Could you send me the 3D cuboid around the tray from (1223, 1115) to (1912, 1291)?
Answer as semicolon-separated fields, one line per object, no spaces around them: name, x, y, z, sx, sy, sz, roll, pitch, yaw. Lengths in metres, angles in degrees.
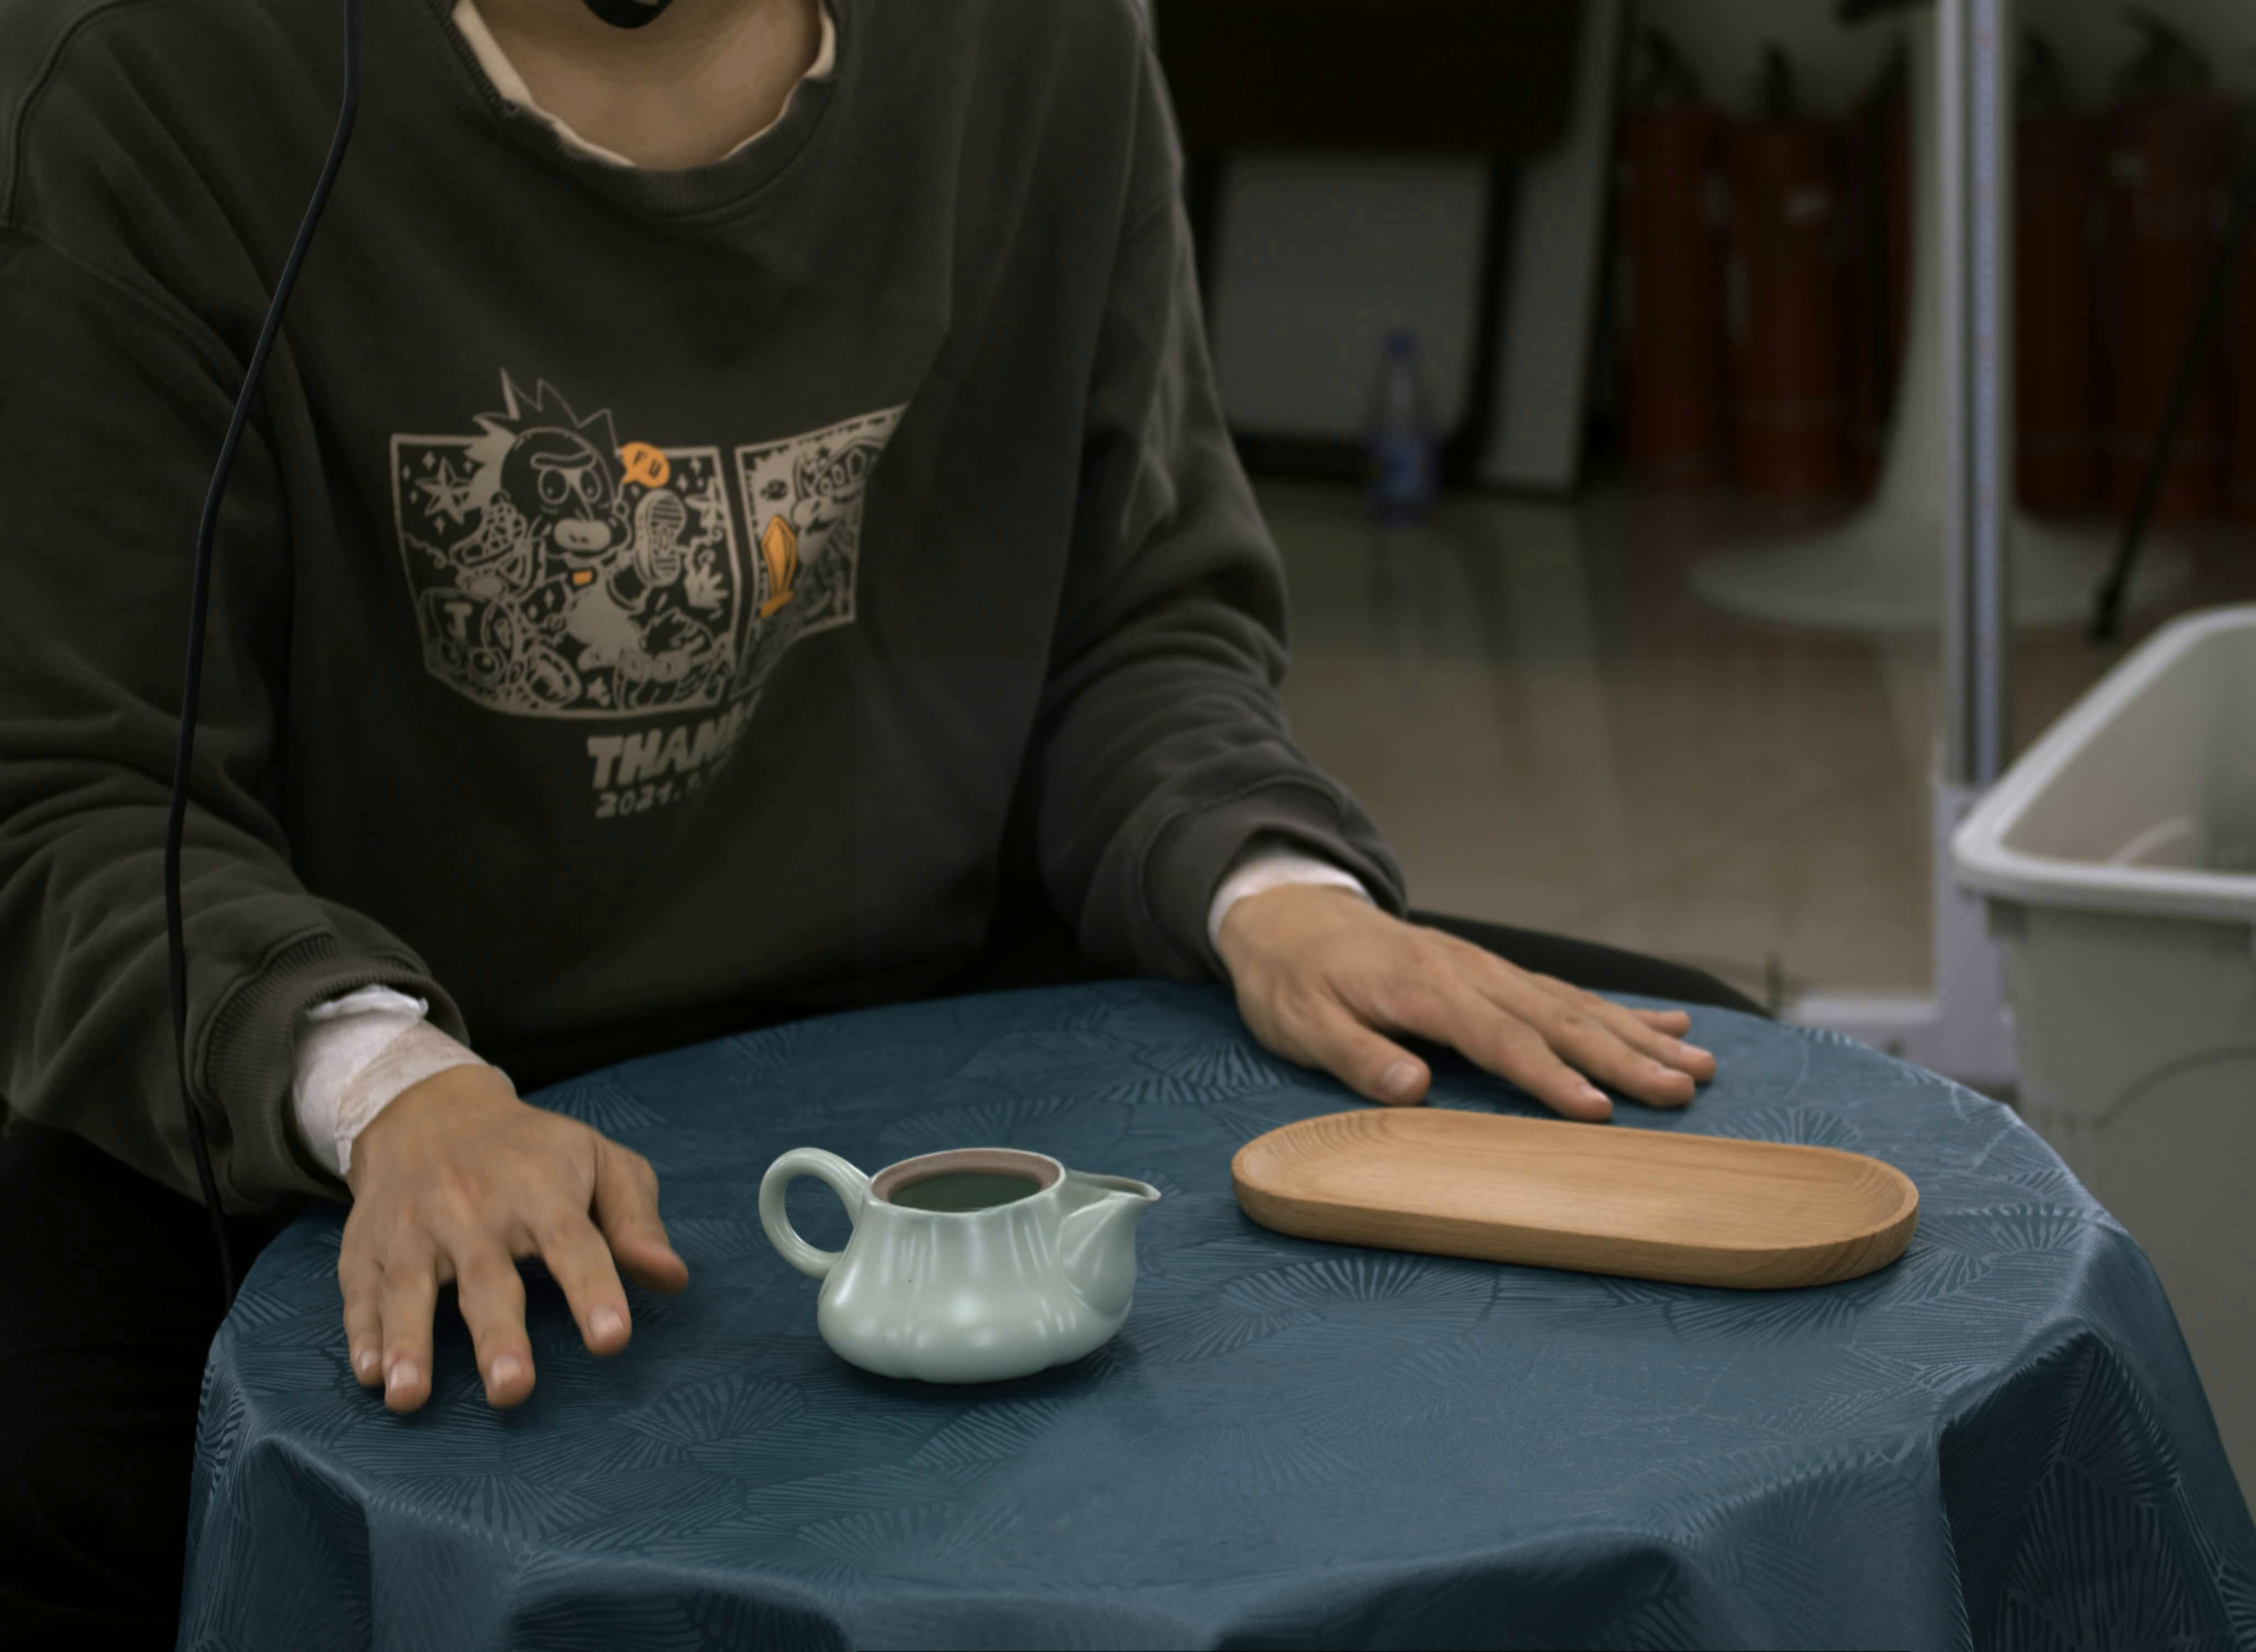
tray;0.138;0.119;1.709;0.232;0.020;0.100;2;14;30

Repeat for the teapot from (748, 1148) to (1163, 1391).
teapot;-0.051;0.132;1.621;0.137;0.062;0.095;2;16;24
